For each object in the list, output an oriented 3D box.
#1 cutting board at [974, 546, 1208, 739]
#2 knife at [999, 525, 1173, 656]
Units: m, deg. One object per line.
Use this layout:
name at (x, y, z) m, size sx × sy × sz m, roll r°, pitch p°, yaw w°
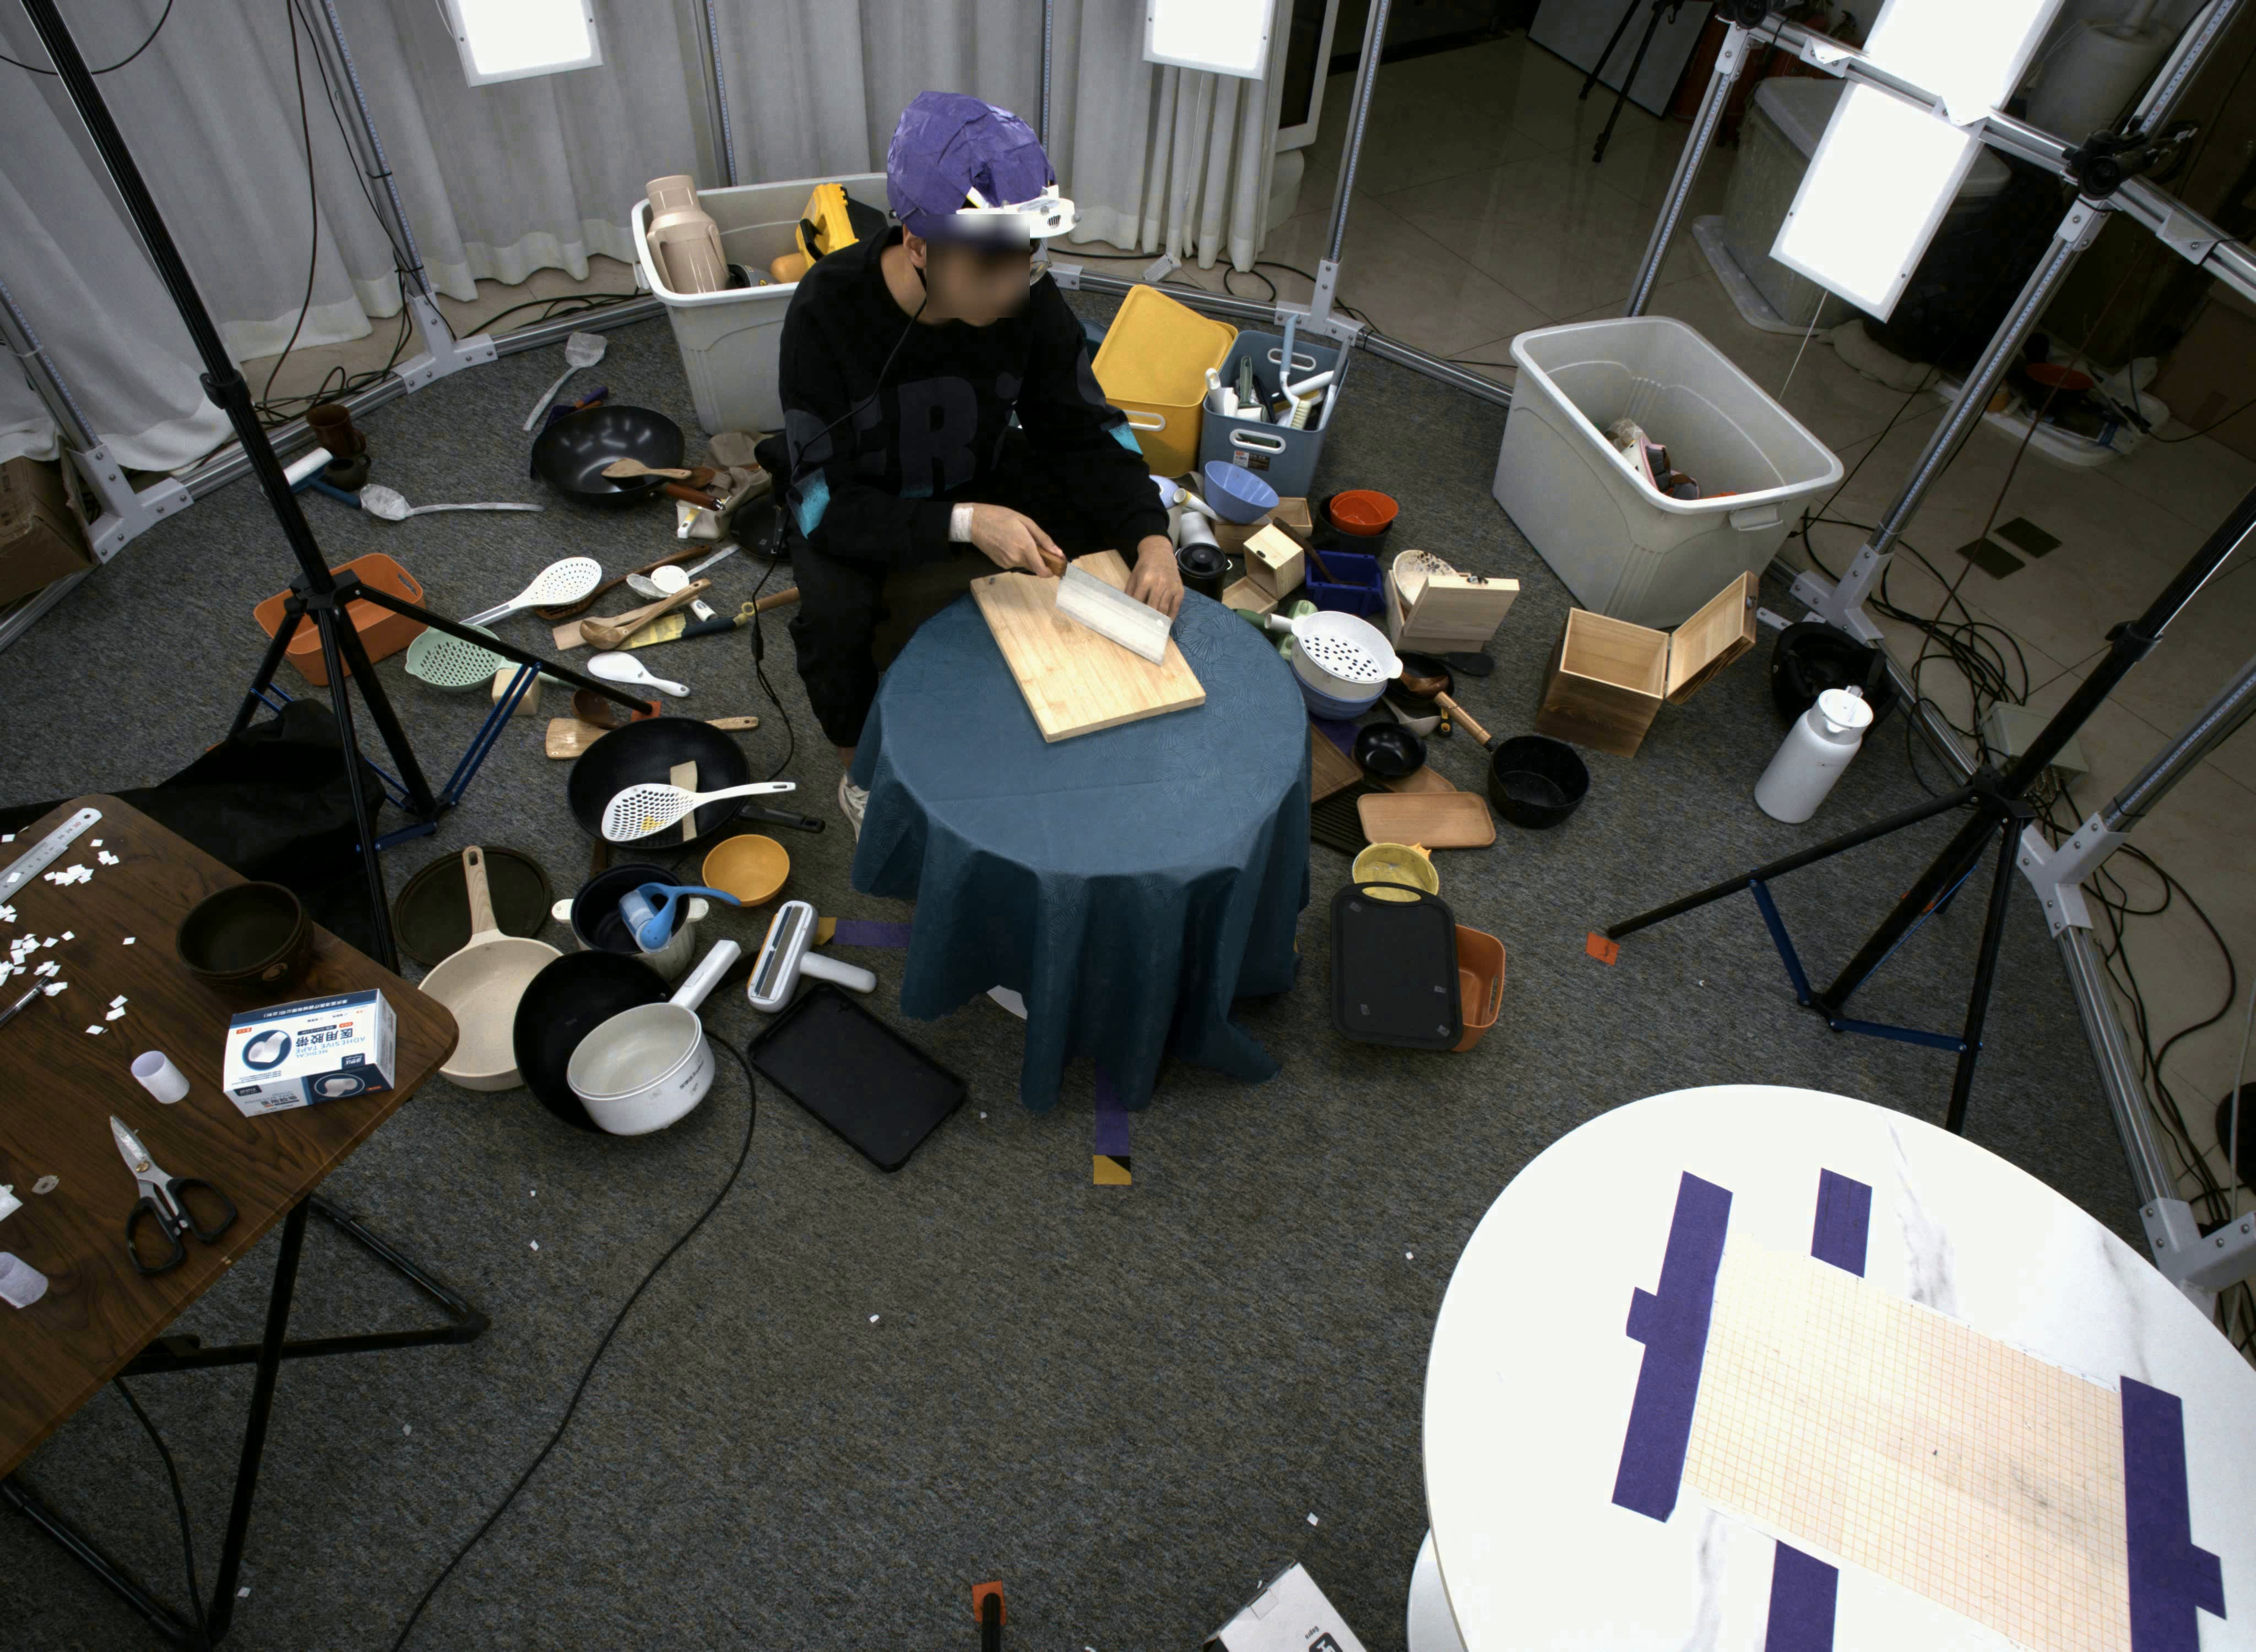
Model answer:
cutting board at (-0.060, -0.277, 1.894) m, size 0.251 × 0.023 × 0.357 m, roll -16°, pitch 52°, yaw -17°
knife at (-0.065, -0.336, 1.860) m, size 0.309 × 0.091 × 0.021 m, roll 32°, pitch 50°, yaw 18°
